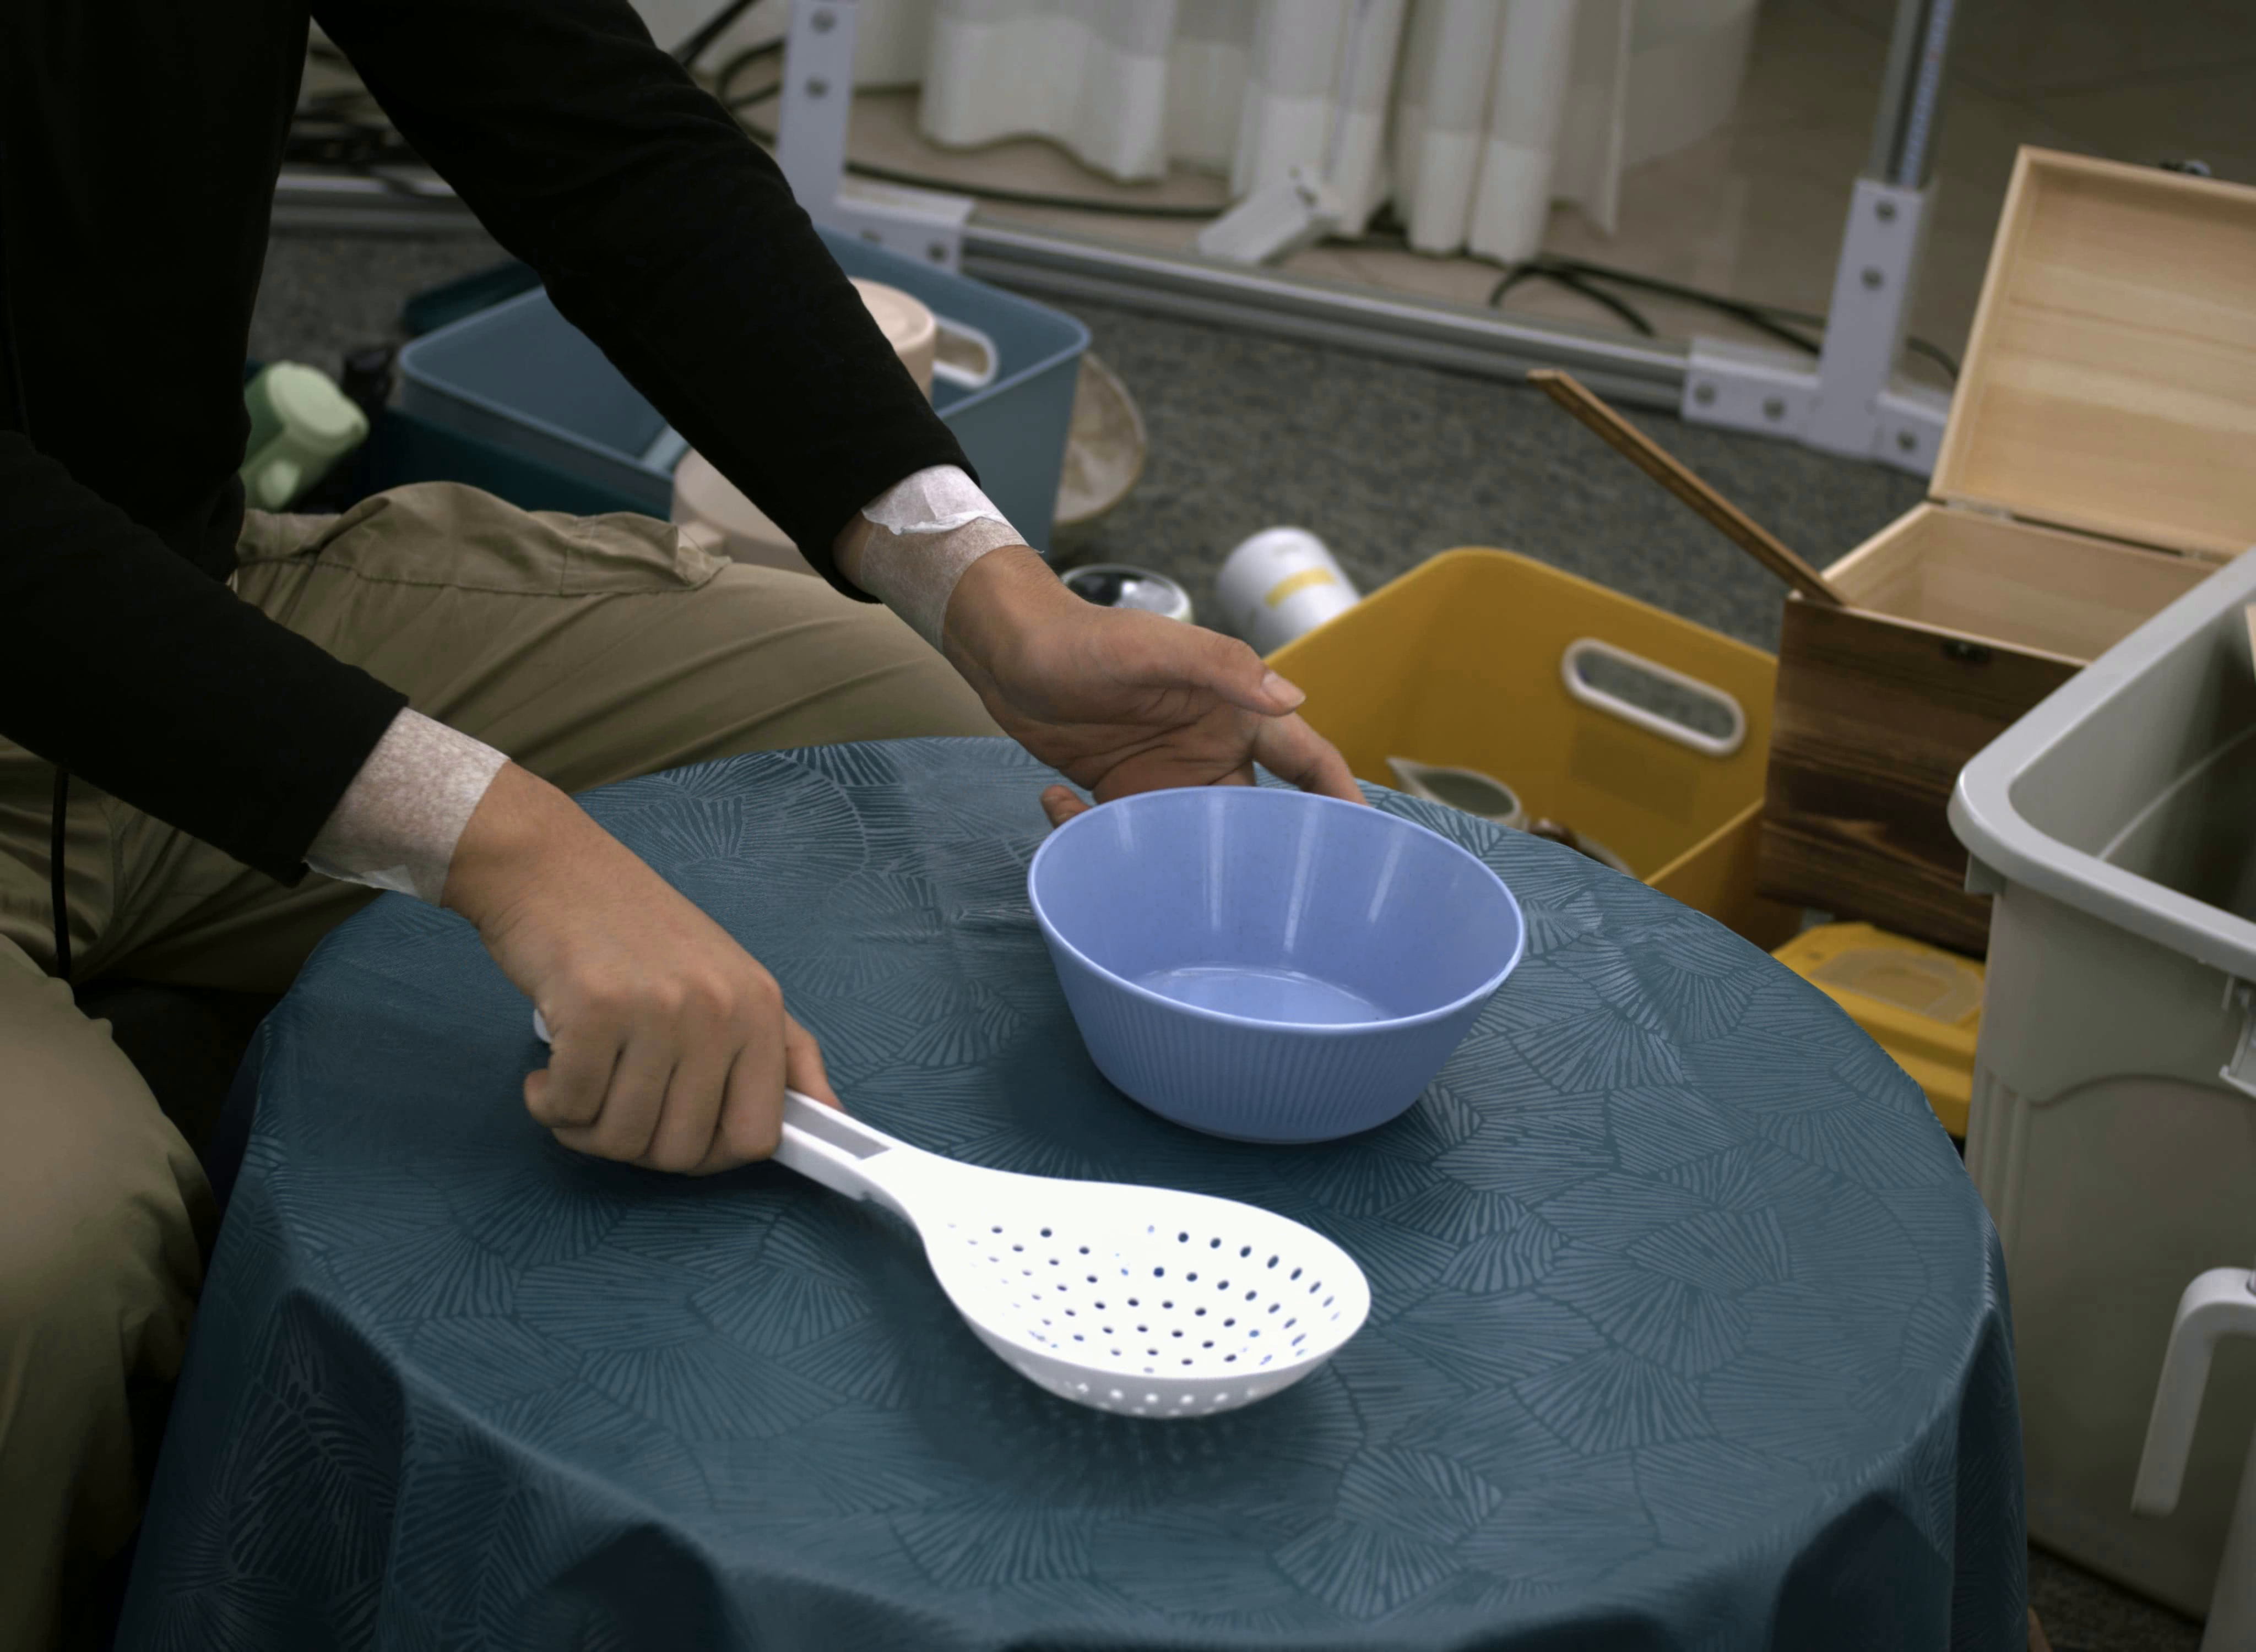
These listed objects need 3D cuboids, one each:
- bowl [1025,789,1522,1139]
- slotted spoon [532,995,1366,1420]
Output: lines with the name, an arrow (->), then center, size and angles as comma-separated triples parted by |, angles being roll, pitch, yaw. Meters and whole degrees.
bowl -> 0.048, 0.054, 1.871 | 0.175, 0.070, 0.177 | 5, 26, -3
slotted spoon -> -0.073, 0.118, 1.746 | 0.352, 0.045, 0.135 | 27, 31, 36
